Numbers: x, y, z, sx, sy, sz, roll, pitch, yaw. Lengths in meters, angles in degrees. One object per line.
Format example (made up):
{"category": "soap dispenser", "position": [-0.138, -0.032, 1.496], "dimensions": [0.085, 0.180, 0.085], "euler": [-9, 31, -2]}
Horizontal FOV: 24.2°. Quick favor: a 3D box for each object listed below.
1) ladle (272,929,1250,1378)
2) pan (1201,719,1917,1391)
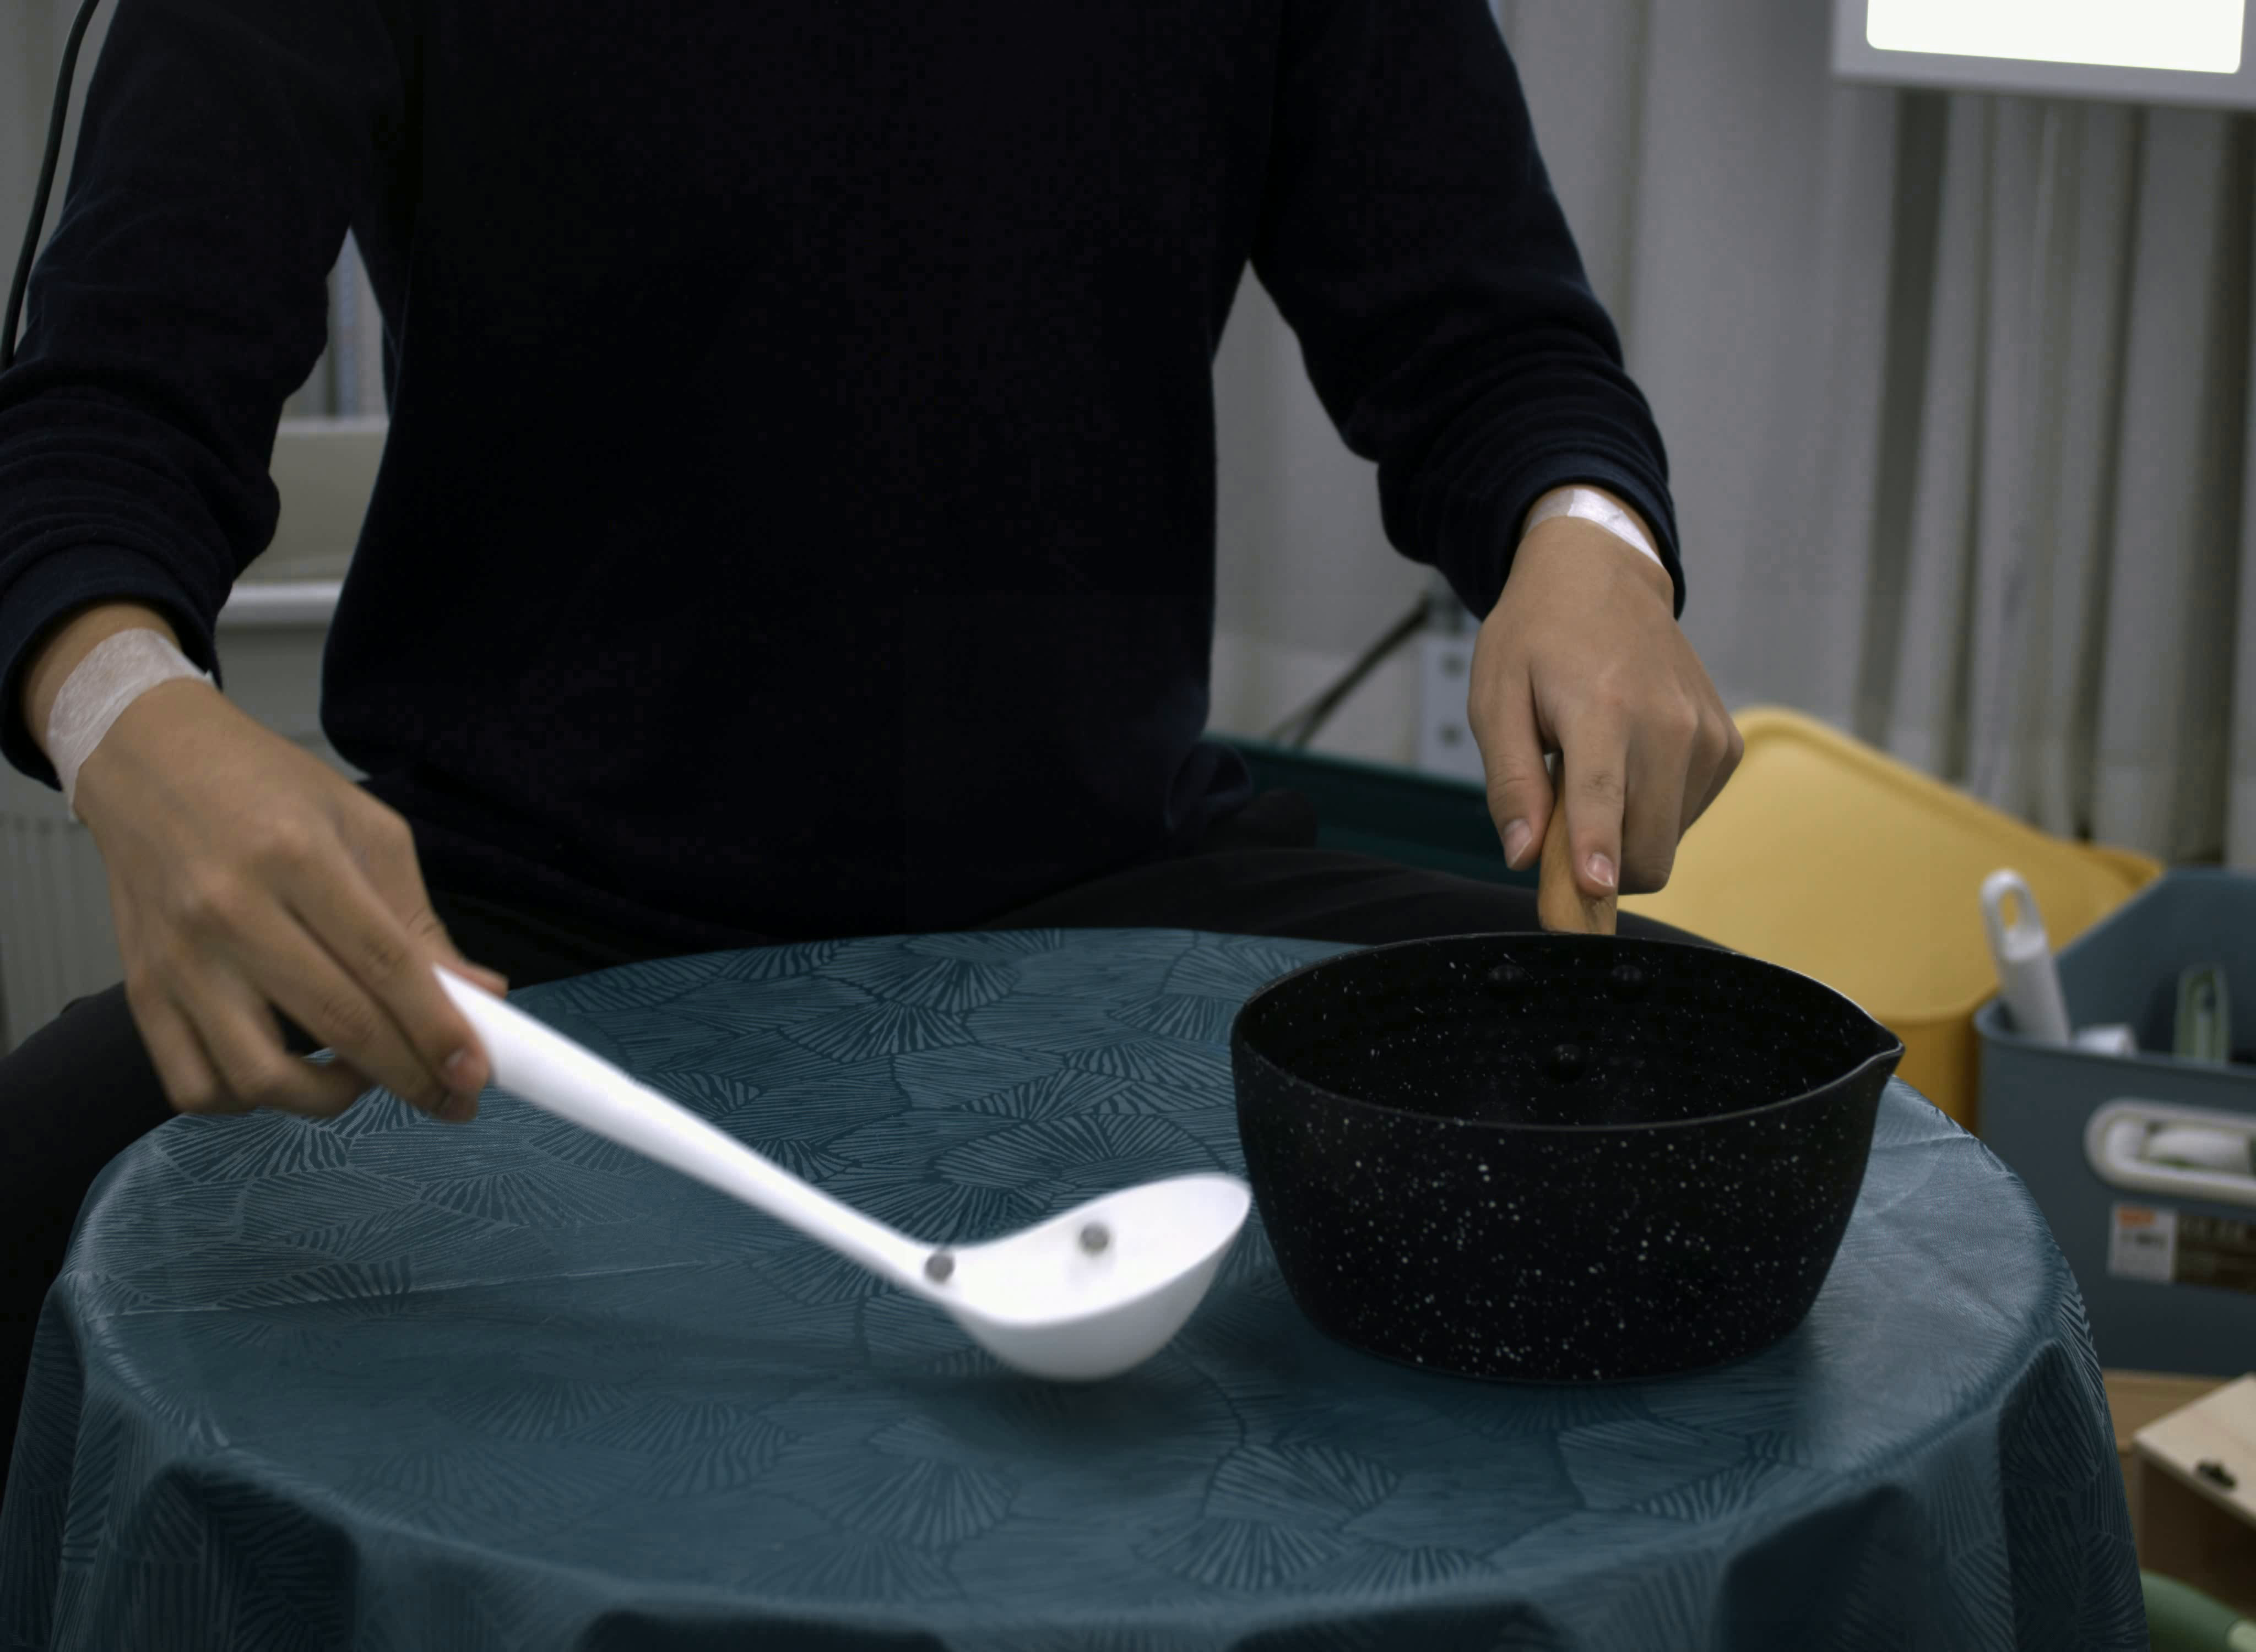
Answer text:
{"category": "ladle", "position": [-0.108, 0.081, 1.472], "dimensions": [0.290, 0.070, 0.090], "euler": [22, 33, 15]}
{"category": "pan", "position": [0.131, 0.064, 1.598], "dimensions": [0.206, 0.109, 0.341], "euler": [1, 17, 5]}
